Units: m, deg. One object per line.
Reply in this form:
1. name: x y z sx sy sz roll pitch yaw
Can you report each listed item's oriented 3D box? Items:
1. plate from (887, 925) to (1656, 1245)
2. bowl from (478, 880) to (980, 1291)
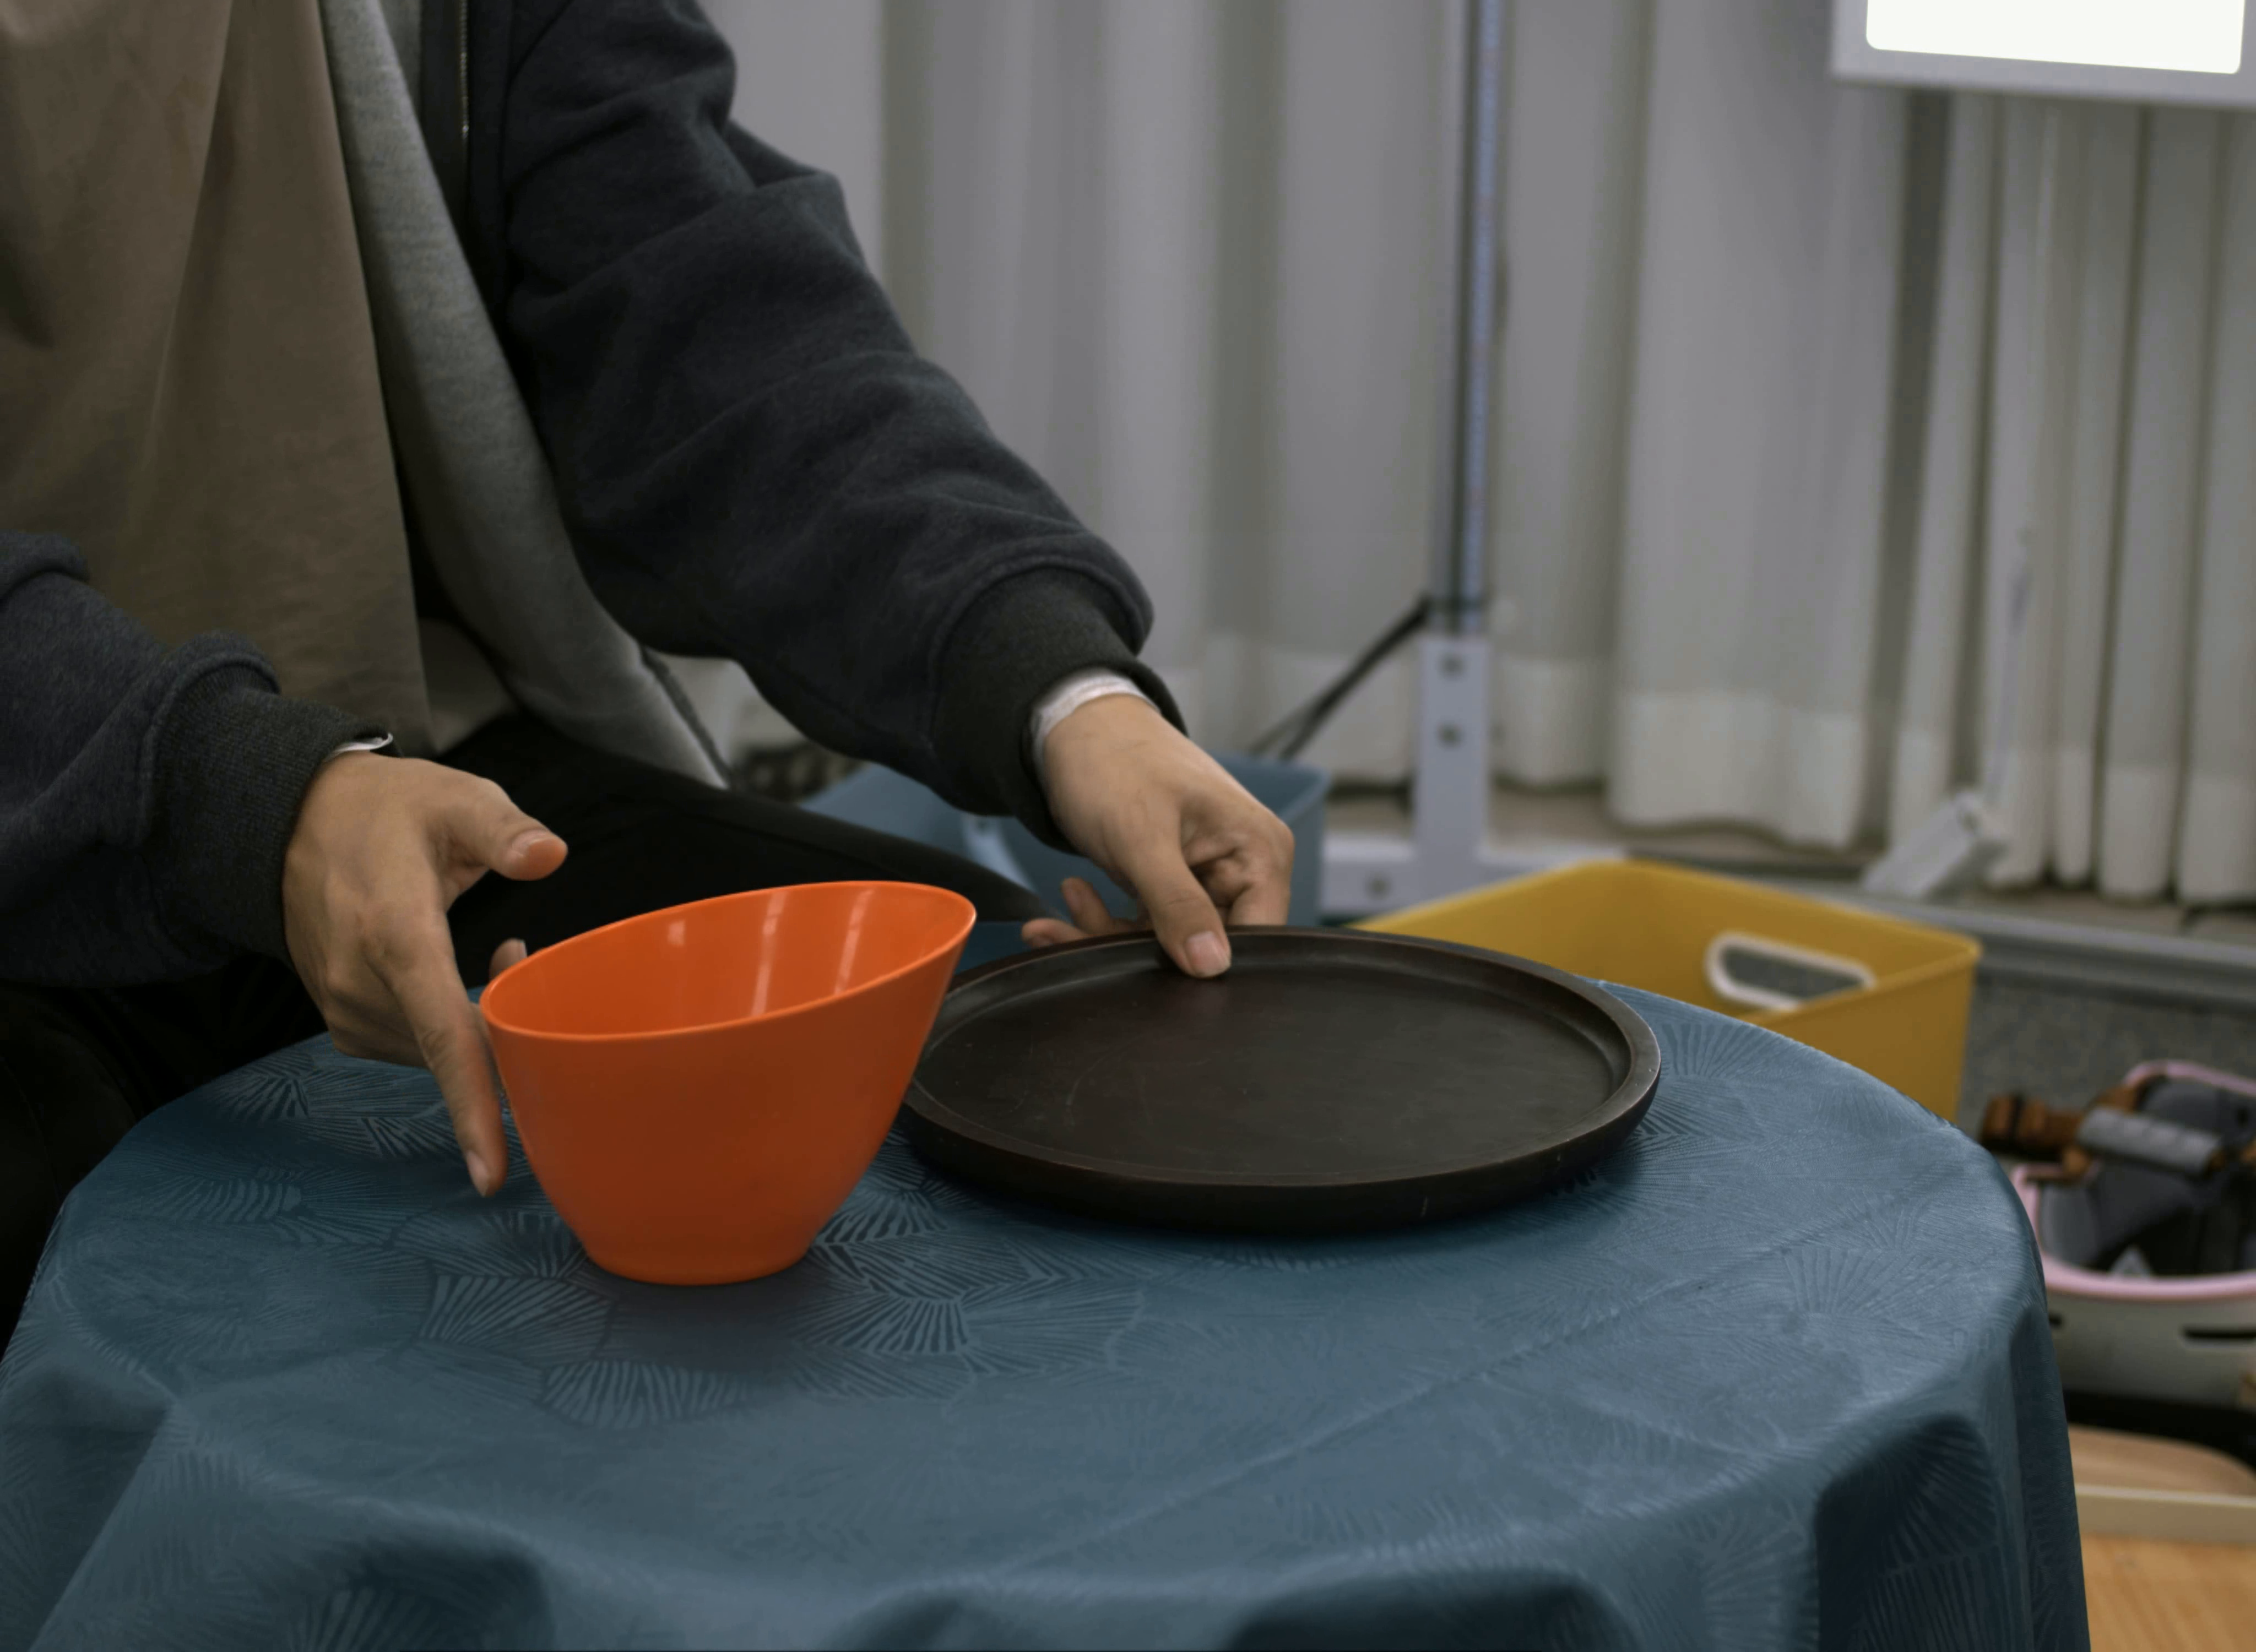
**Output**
1. plate: 0.043 0.080 1.689 0.254 0.029 0.253 0 18 1
2. bowl: -0.117 0.078 1.553 0.147 0.105 0.147 1 18 0
